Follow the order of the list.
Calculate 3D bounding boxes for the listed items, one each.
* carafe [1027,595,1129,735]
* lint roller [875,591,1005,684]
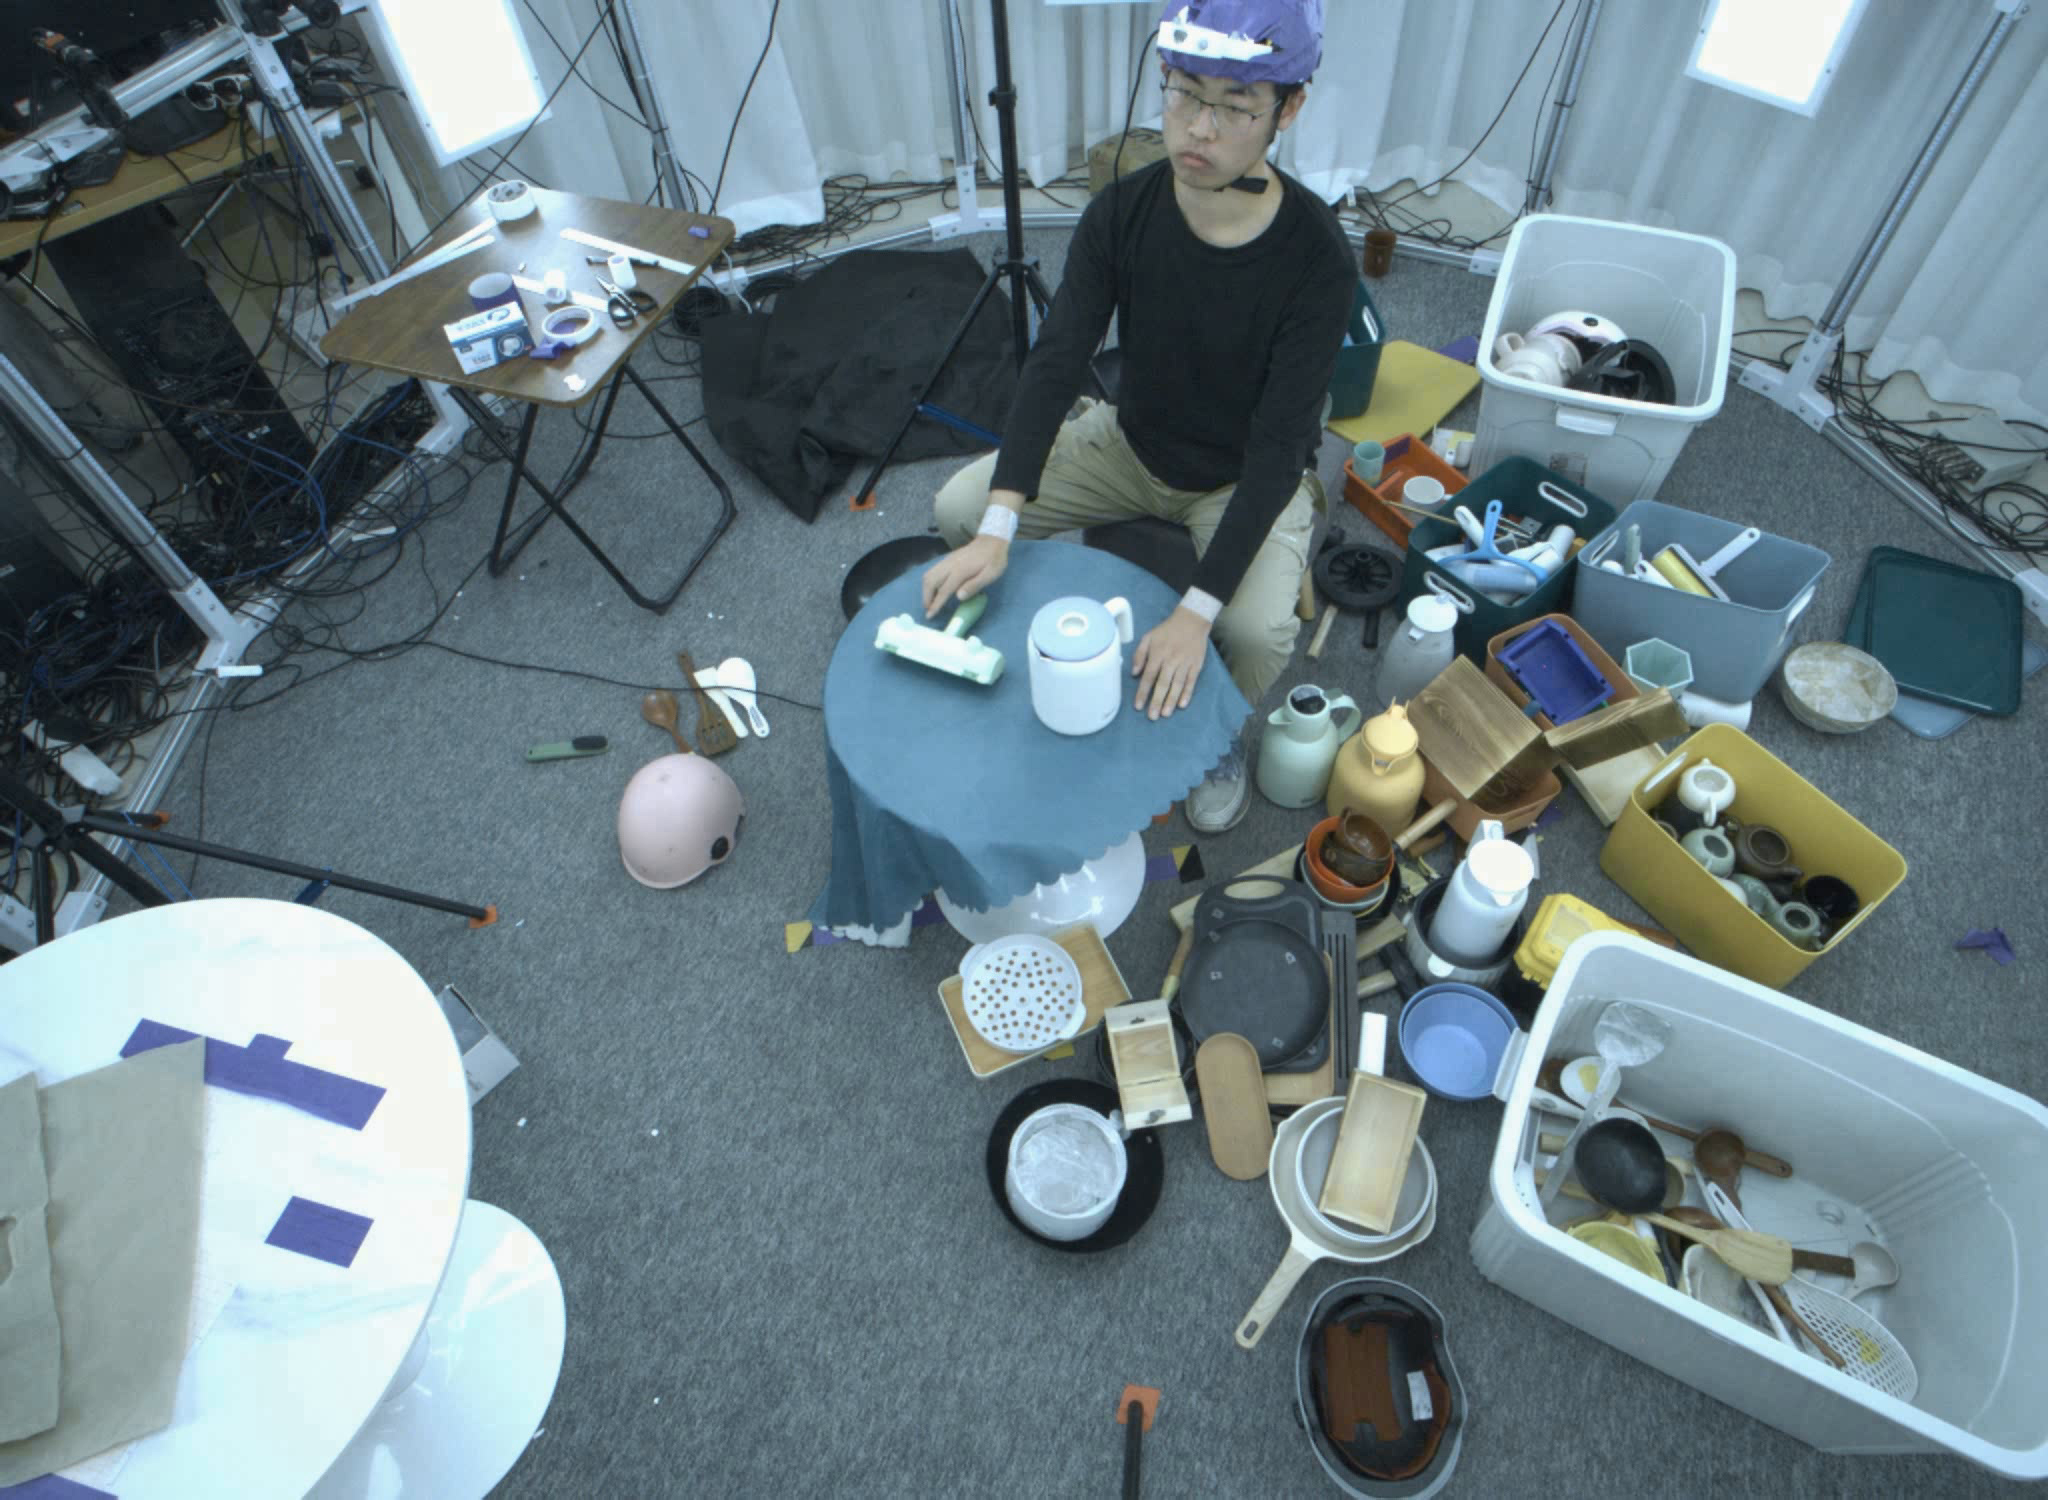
[{"bbox_3d":[0.089,-0.135,1.775,0.130,0.184,0.192,35,61,24],"label":"carafe"},{"bbox_3d":[-0.105,-0.197,1.883,0.196,0.083,0.183,20,60,14],"label":"lint roller"}]
